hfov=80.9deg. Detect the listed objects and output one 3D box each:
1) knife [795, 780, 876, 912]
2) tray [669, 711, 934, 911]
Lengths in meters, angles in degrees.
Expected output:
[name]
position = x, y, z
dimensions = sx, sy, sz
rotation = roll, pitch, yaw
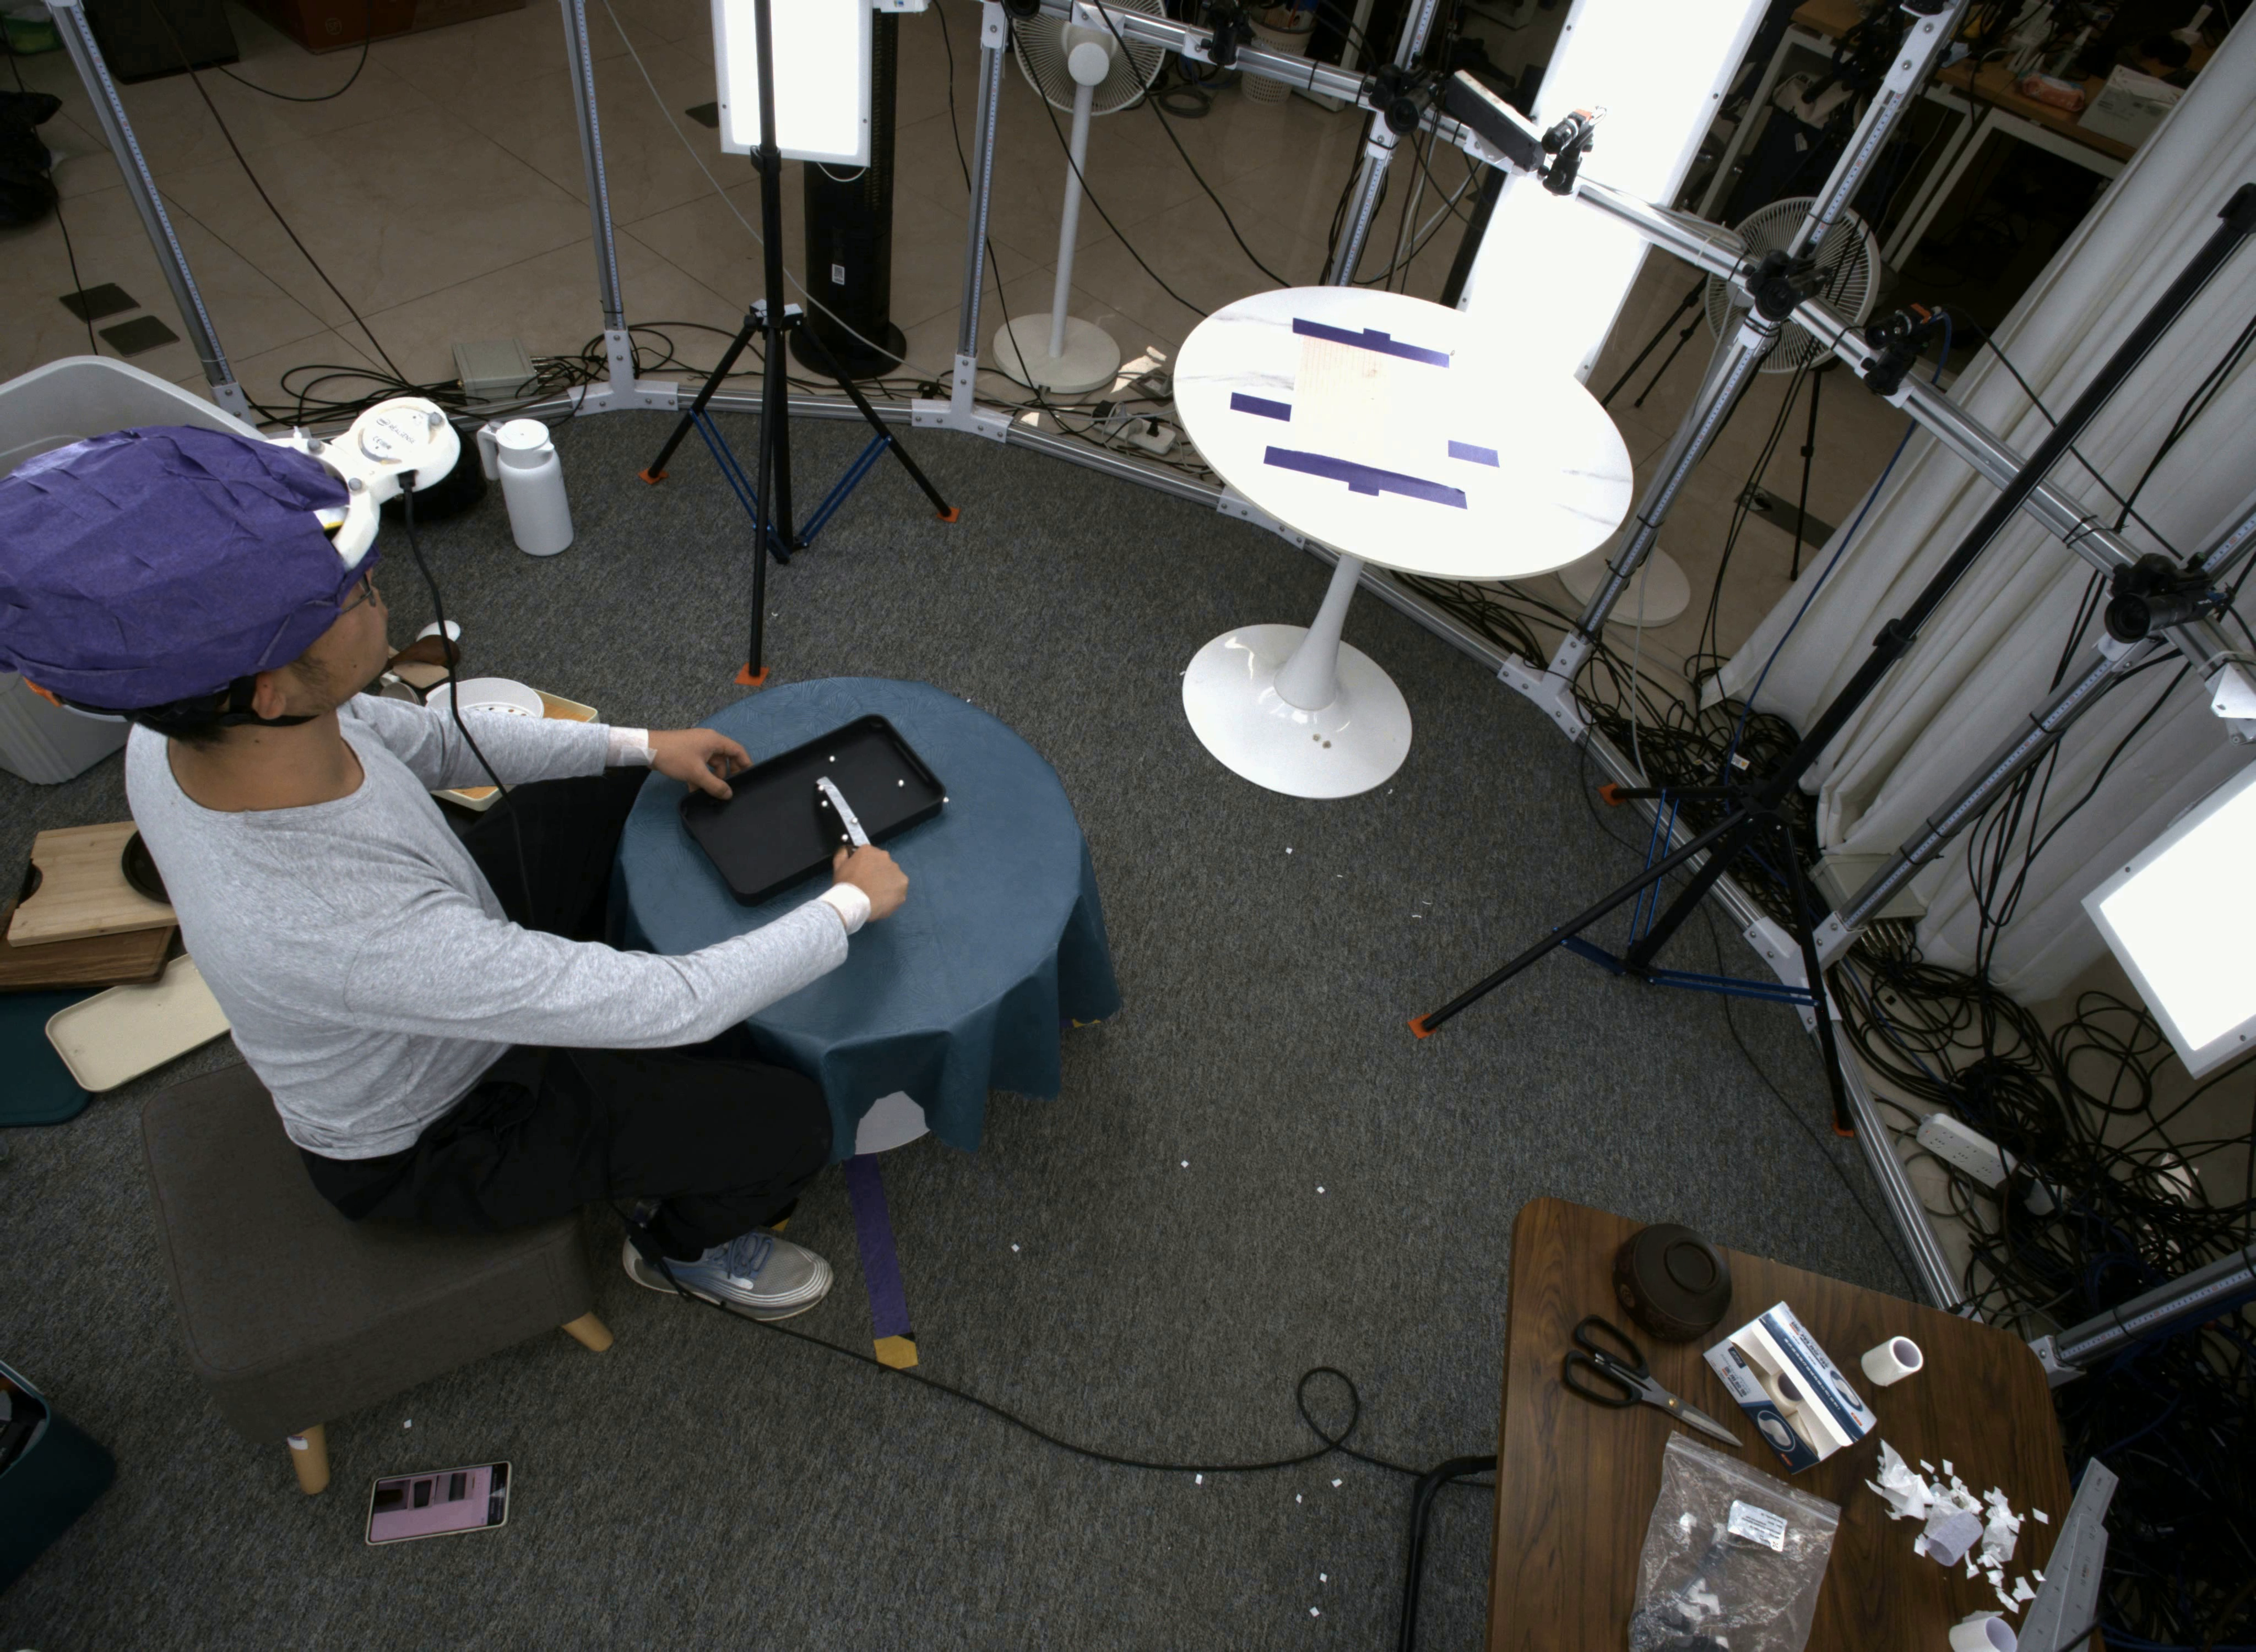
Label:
[knife]
position = -0.379, 0.017, 1.676
dimensions = 0.051, 0.020, 0.279
rotation = 5, 33, -36
[tray]
position = -0.432, -0.027, 1.729
dimensions = 0.319, 0.038, 0.180
rotation = -33, 67, -32
